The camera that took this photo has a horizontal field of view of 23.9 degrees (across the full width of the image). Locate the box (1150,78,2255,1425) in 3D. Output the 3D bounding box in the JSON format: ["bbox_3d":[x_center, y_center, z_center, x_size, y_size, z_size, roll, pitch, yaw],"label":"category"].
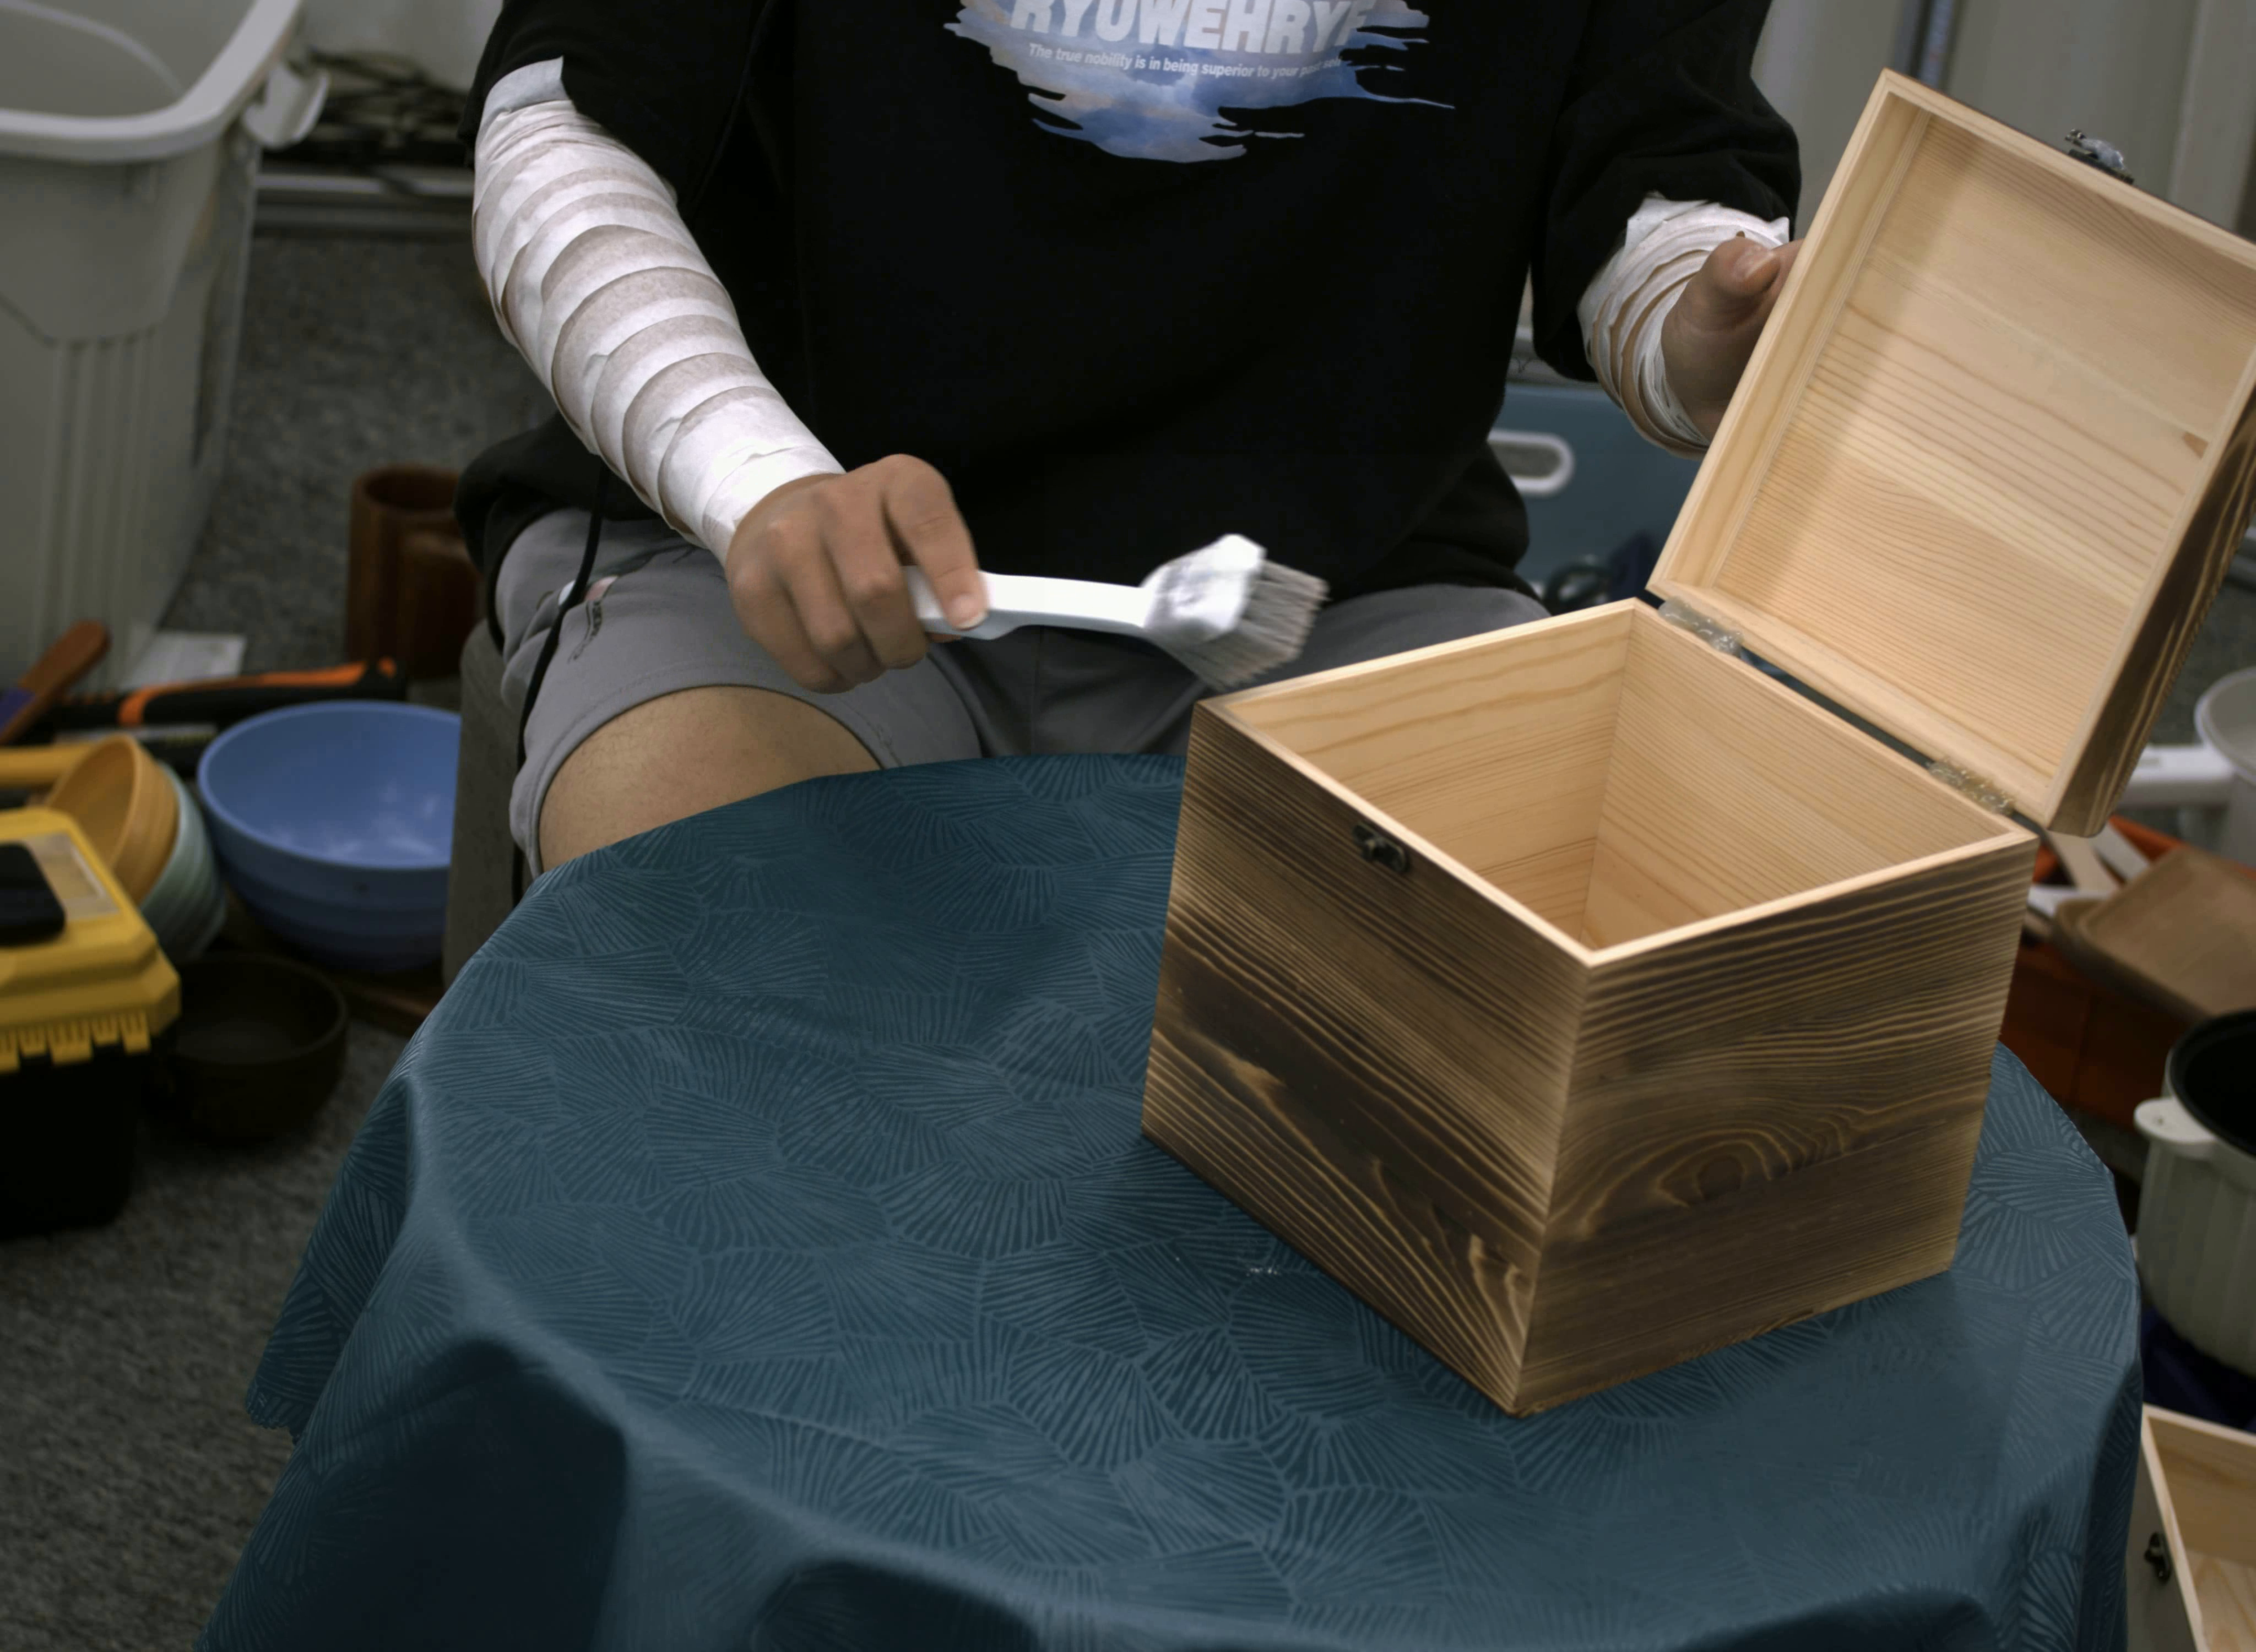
[{"bbox_3d":[0.202,-0.038,1.781,0.320,0.374,0.210,-11,30,-36],"label":"box"}]

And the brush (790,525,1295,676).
[{"bbox_3d":[-0.030,-0.070,1.825,0.050,0.034,0.245,32,-21,-33],"label":"brush"}]
